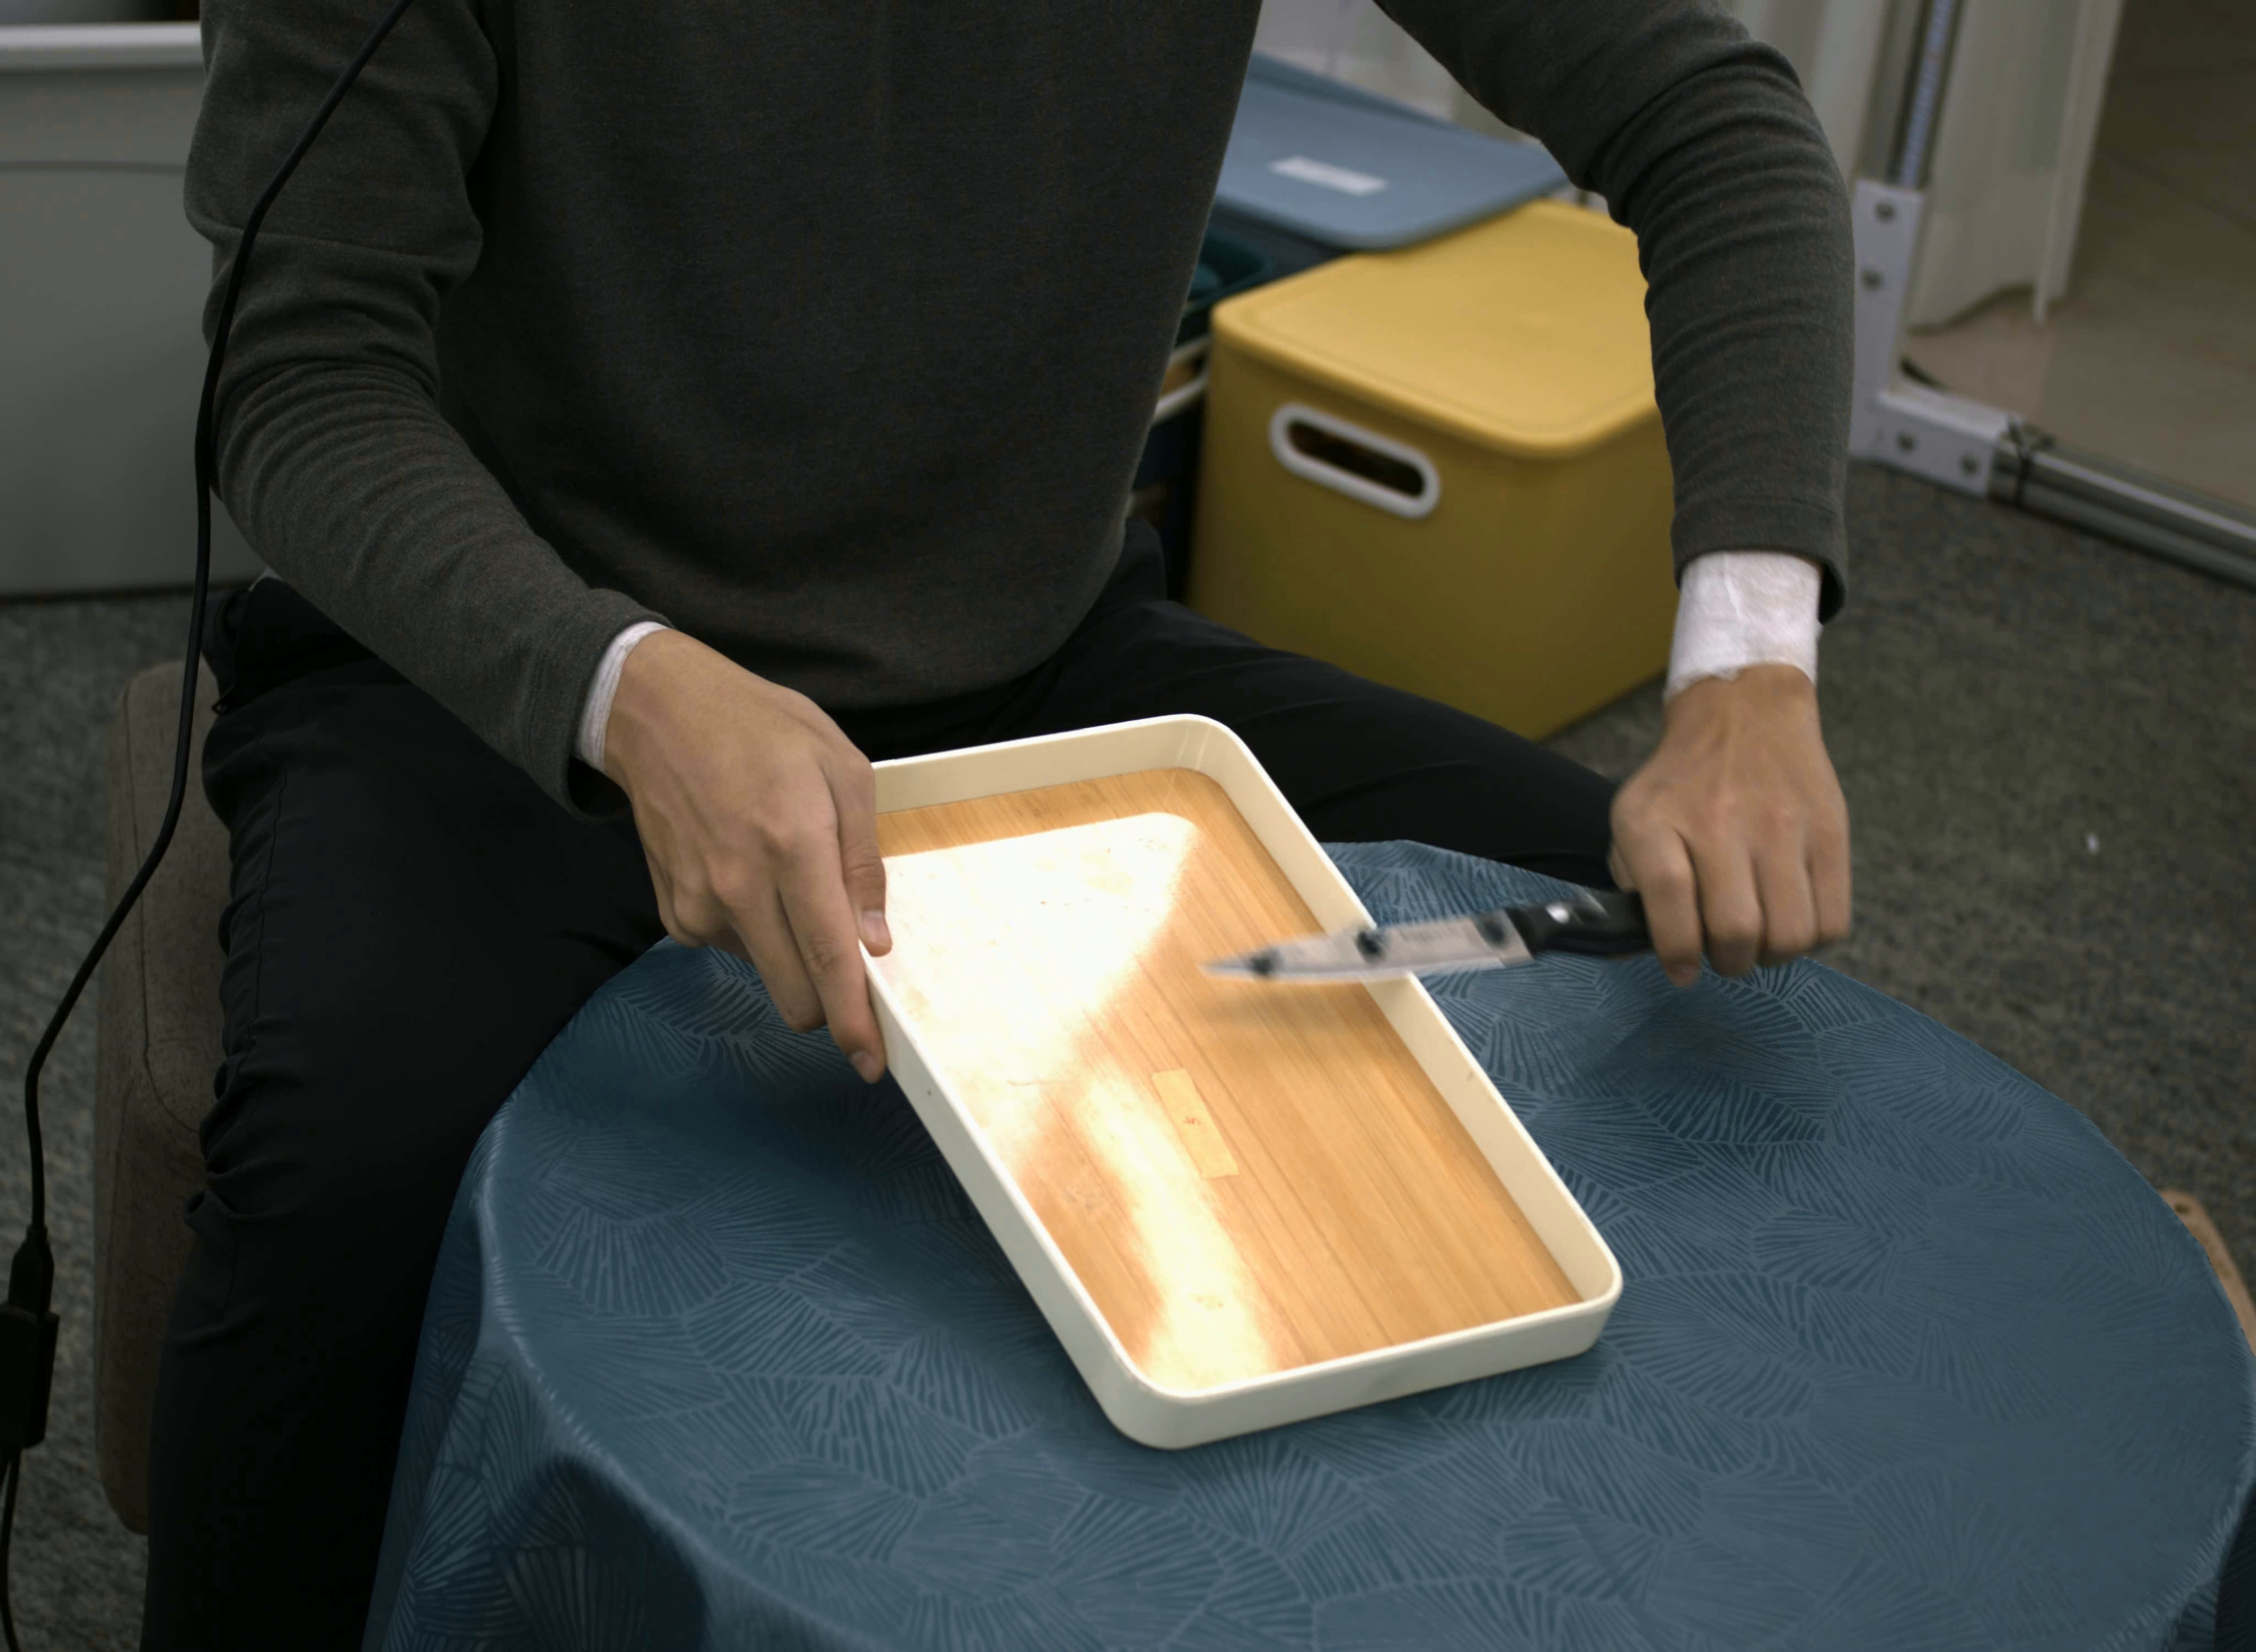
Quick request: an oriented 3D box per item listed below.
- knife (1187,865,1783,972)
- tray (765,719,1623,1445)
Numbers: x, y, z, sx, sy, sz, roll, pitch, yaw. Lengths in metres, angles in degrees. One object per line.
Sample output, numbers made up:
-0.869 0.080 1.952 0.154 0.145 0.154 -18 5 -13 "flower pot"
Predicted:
0.125 0.033 1.858 0.236 0.016 0.025 -6 45 -26 "knife"
0.018 0.078 1.788 0.190 0.027 0.303 -8 45 -29 "tray"
